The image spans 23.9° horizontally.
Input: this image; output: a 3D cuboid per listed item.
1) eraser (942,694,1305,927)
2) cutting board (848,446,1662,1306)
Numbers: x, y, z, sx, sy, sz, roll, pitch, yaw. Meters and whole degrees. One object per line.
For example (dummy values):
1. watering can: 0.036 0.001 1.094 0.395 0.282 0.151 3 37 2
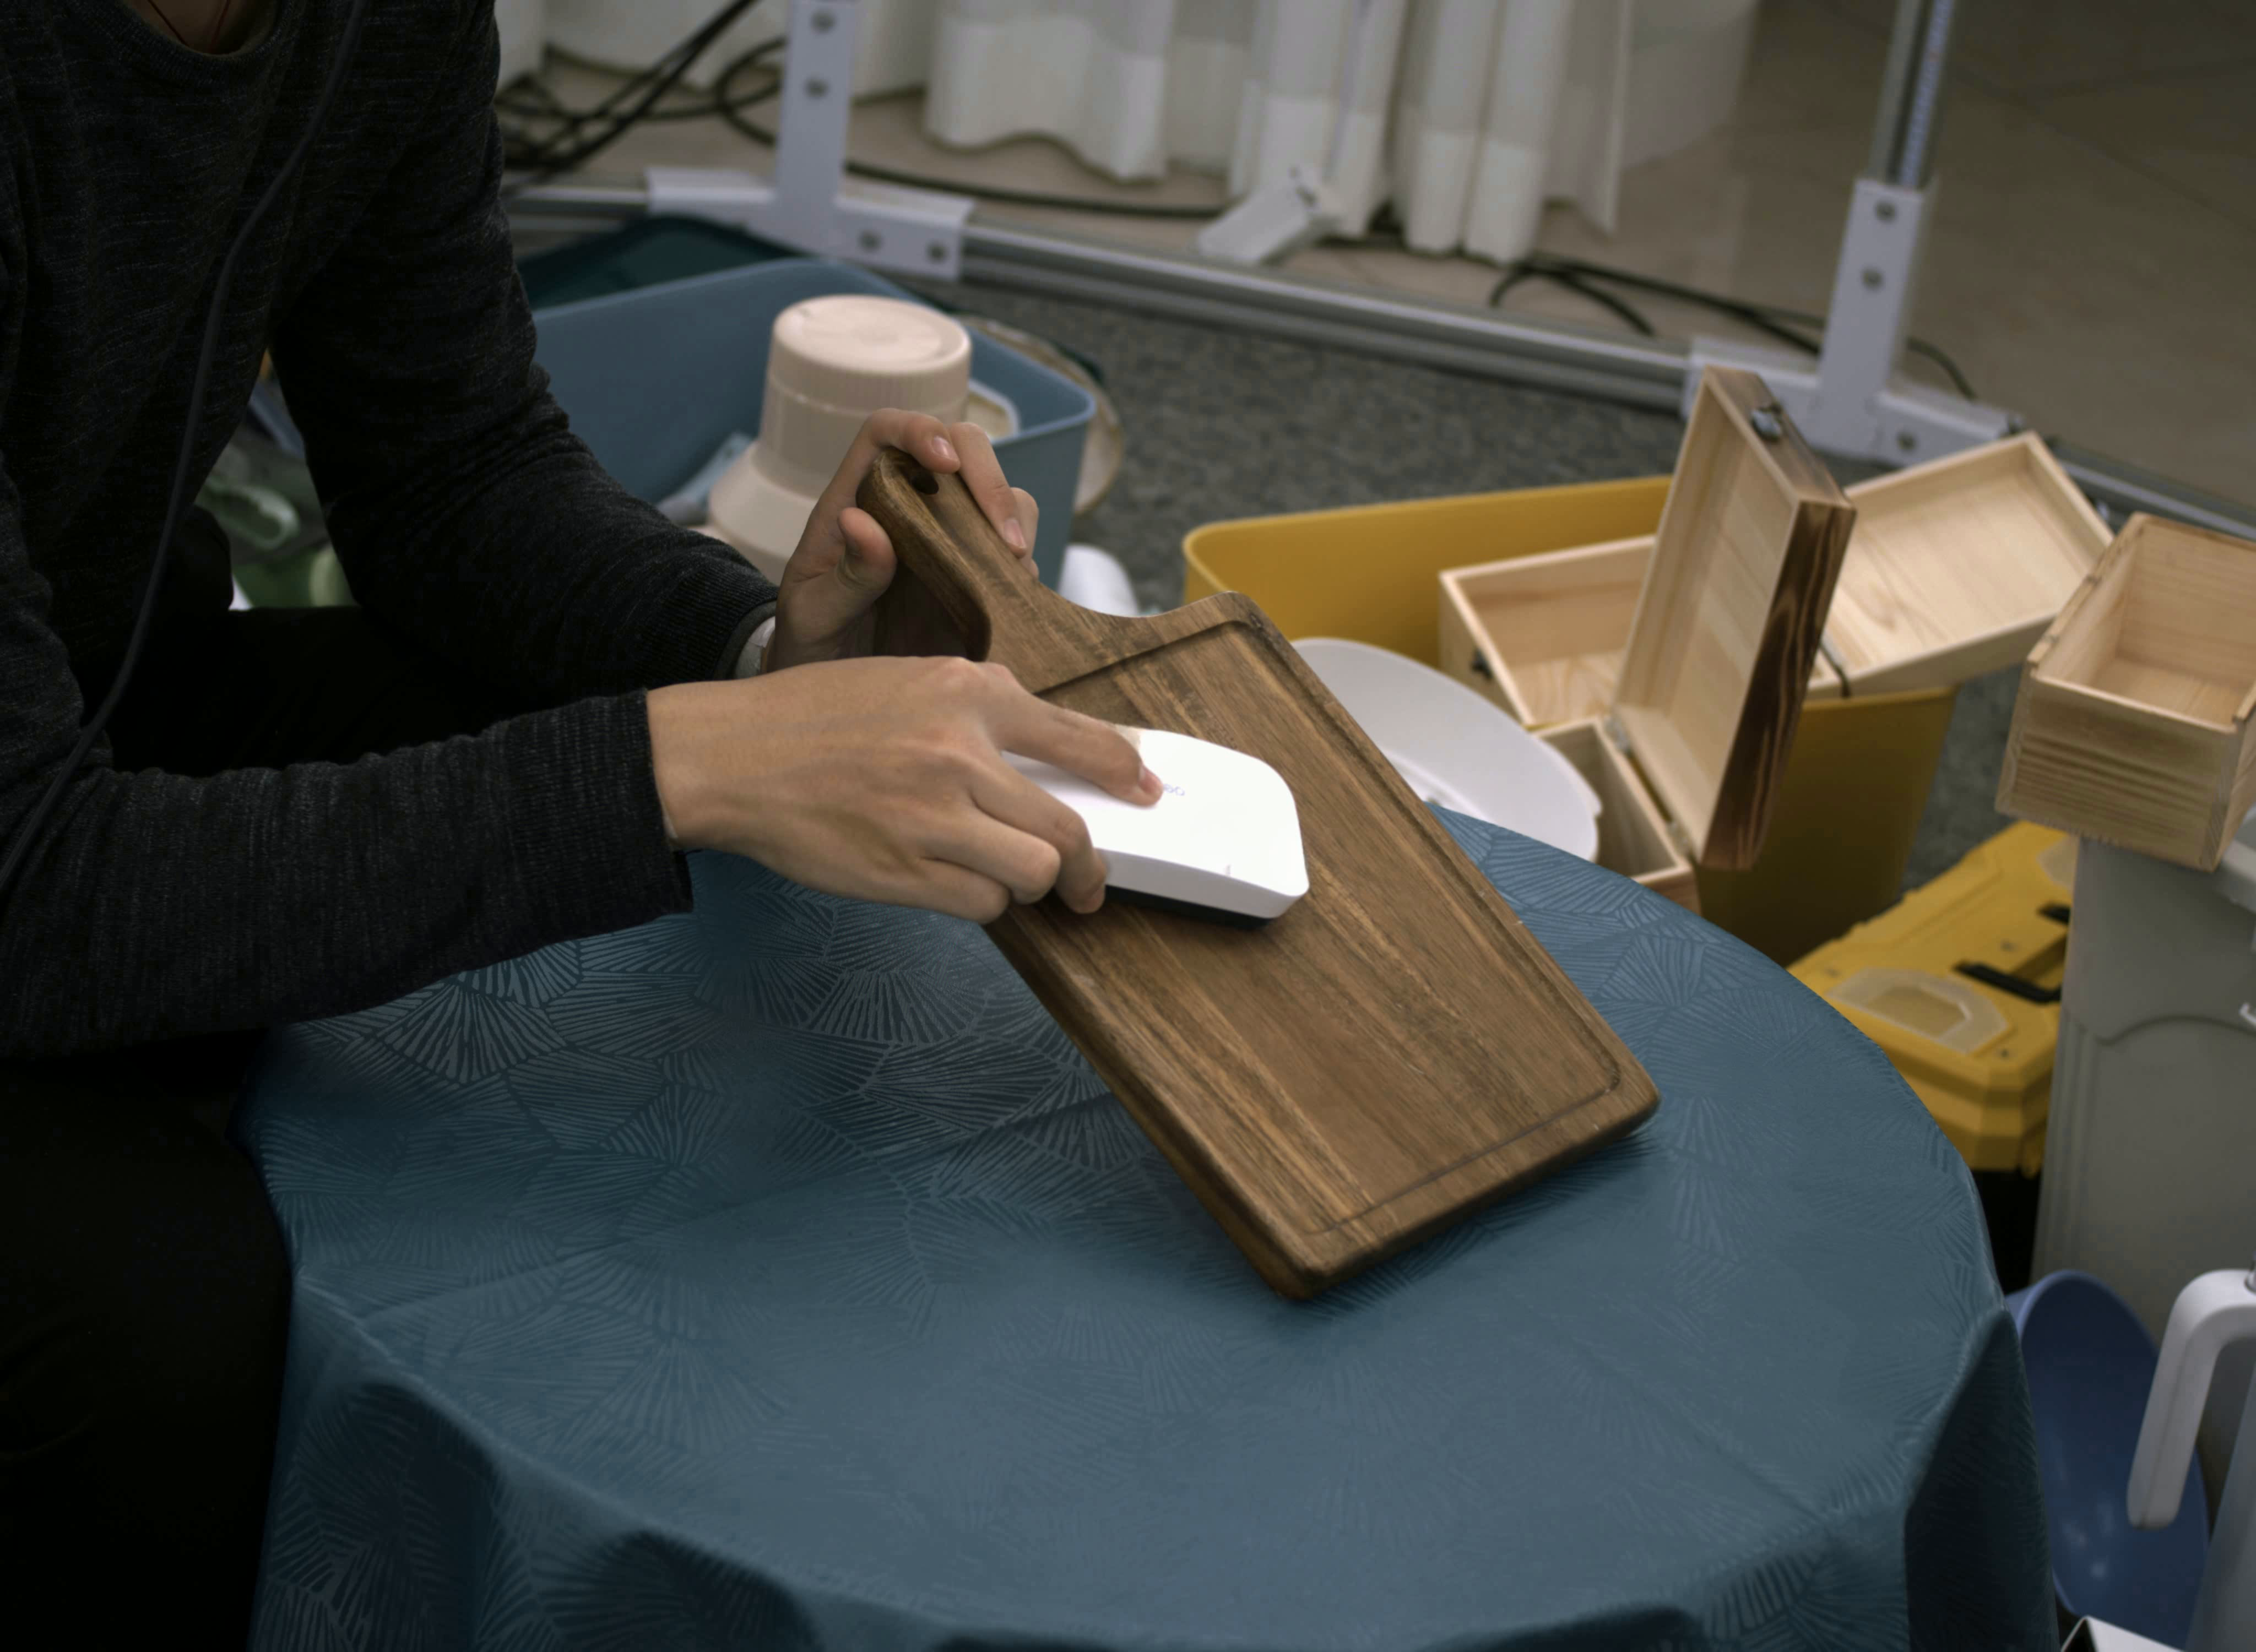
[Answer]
1. eraser: -0.001 -0.007 1.819 0.130 0.034 0.064 14 46 -27
2. cutting board: 0.017 -0.001 1.859 0.200 0.023 0.354 -22 65 -43
